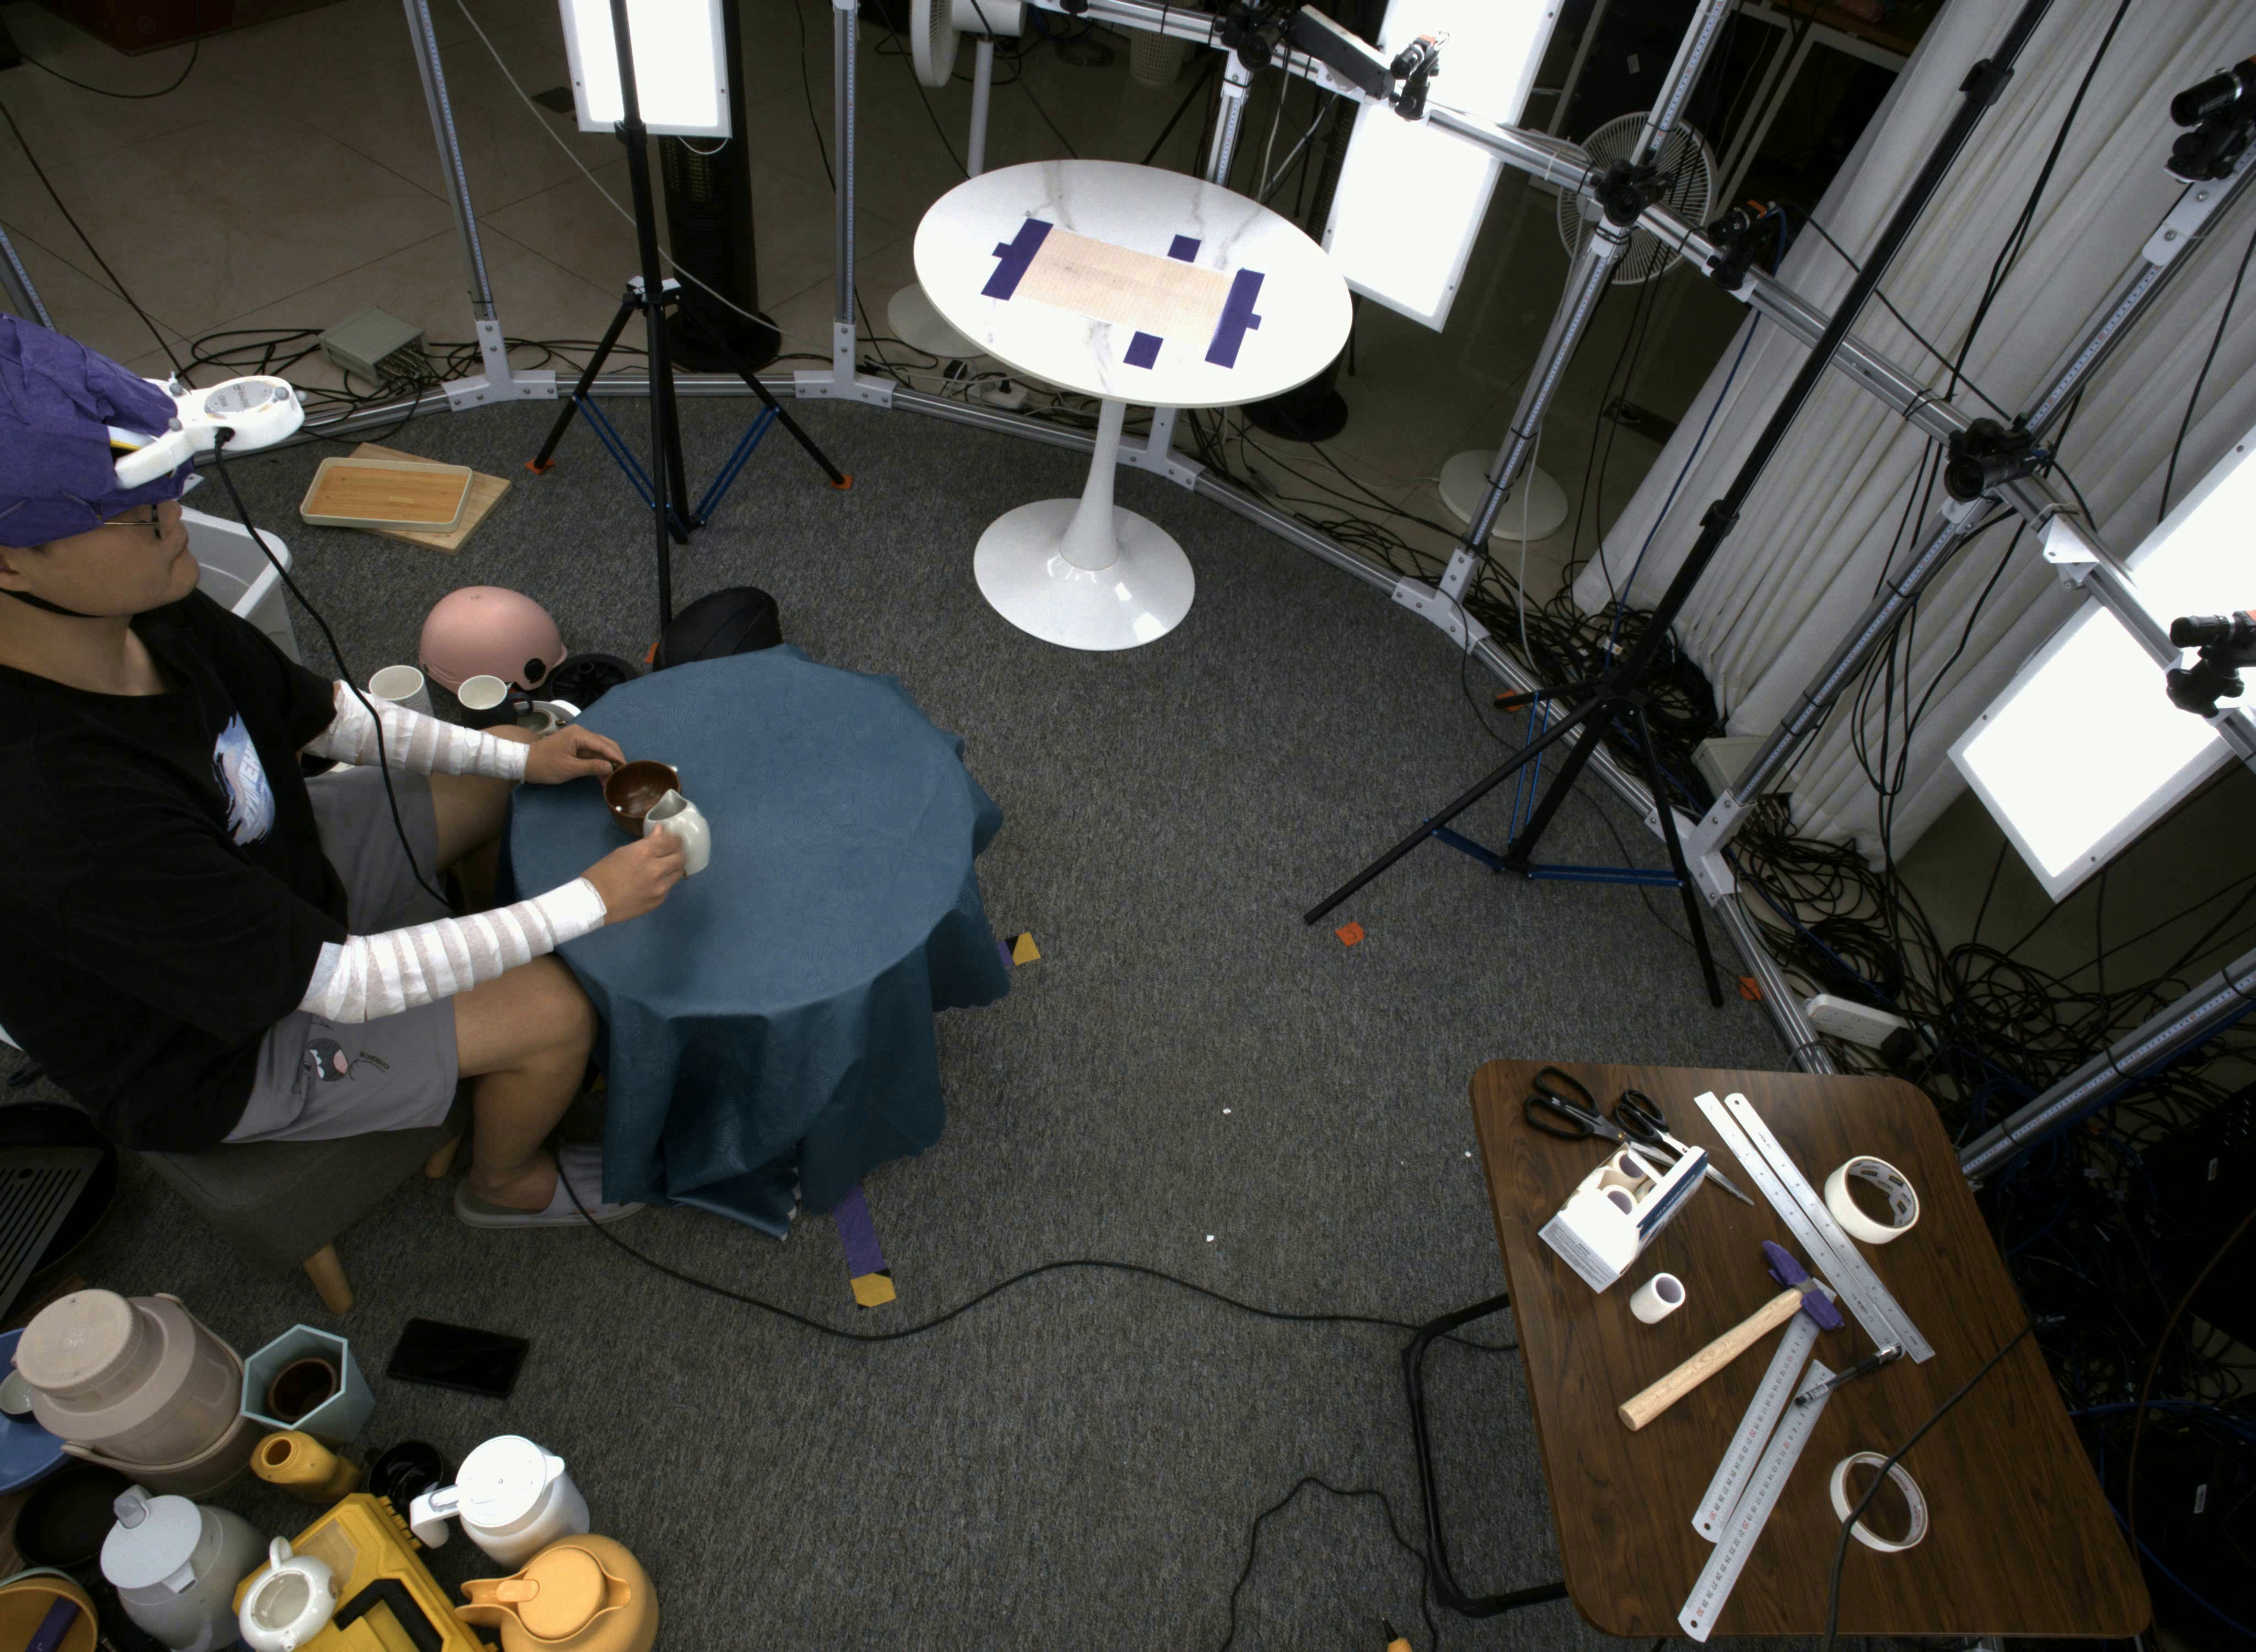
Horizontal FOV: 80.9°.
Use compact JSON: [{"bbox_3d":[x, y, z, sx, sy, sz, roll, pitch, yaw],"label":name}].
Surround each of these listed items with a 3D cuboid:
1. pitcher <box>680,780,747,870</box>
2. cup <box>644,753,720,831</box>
[{"bbox_3d":[-0.507,0.004,1.578,0.075,0.091,0.116,-15,25,2],"label":"pitcher"},{"bbox_3d":[-0.588,-0.046,1.687,0.116,0.069,0.096,41,59,20],"label":"cup"}]
